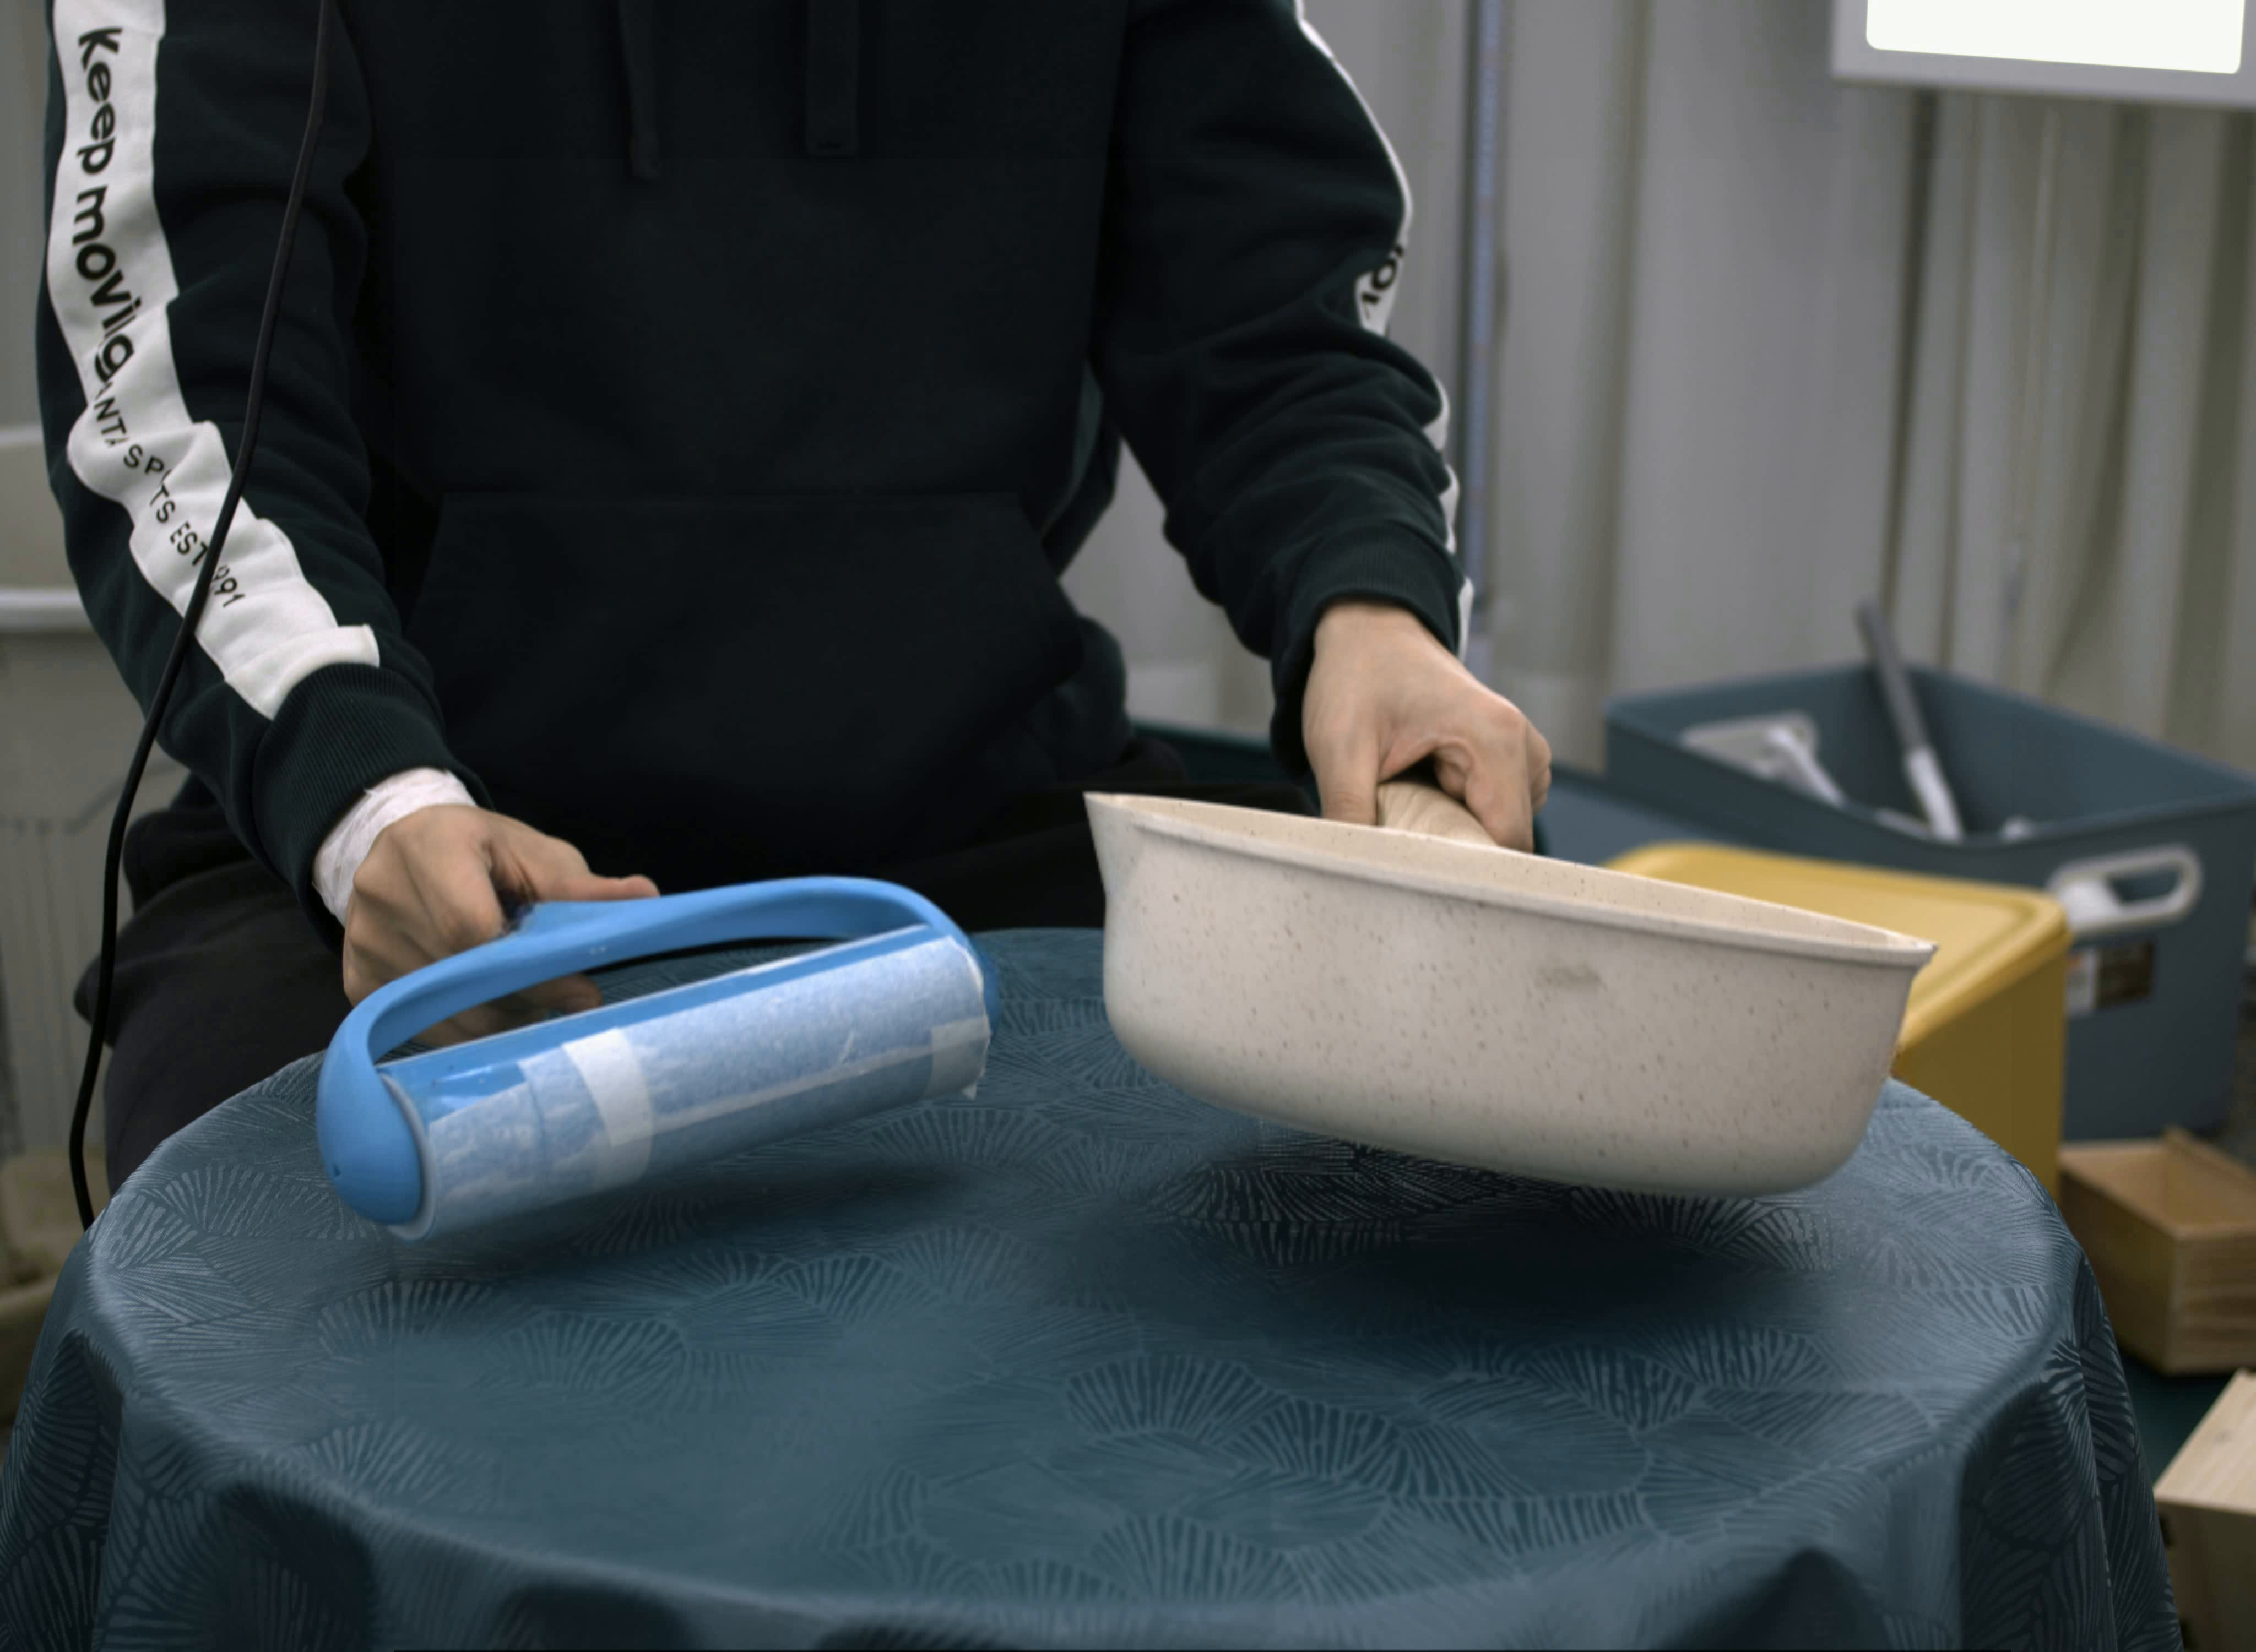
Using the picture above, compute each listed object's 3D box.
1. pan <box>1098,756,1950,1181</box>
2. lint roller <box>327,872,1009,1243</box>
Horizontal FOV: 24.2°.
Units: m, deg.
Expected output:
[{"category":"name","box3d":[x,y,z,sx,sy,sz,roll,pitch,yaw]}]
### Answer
[{"category":"pan","box3d":[0.104,0.037,1.663,0.263,0.102,0.433,9,2,-8]},{"category":"lint roller","box3d":[-0.170,0.055,1.615,0.230,0.068,0.178,-18,29,-36]}]
